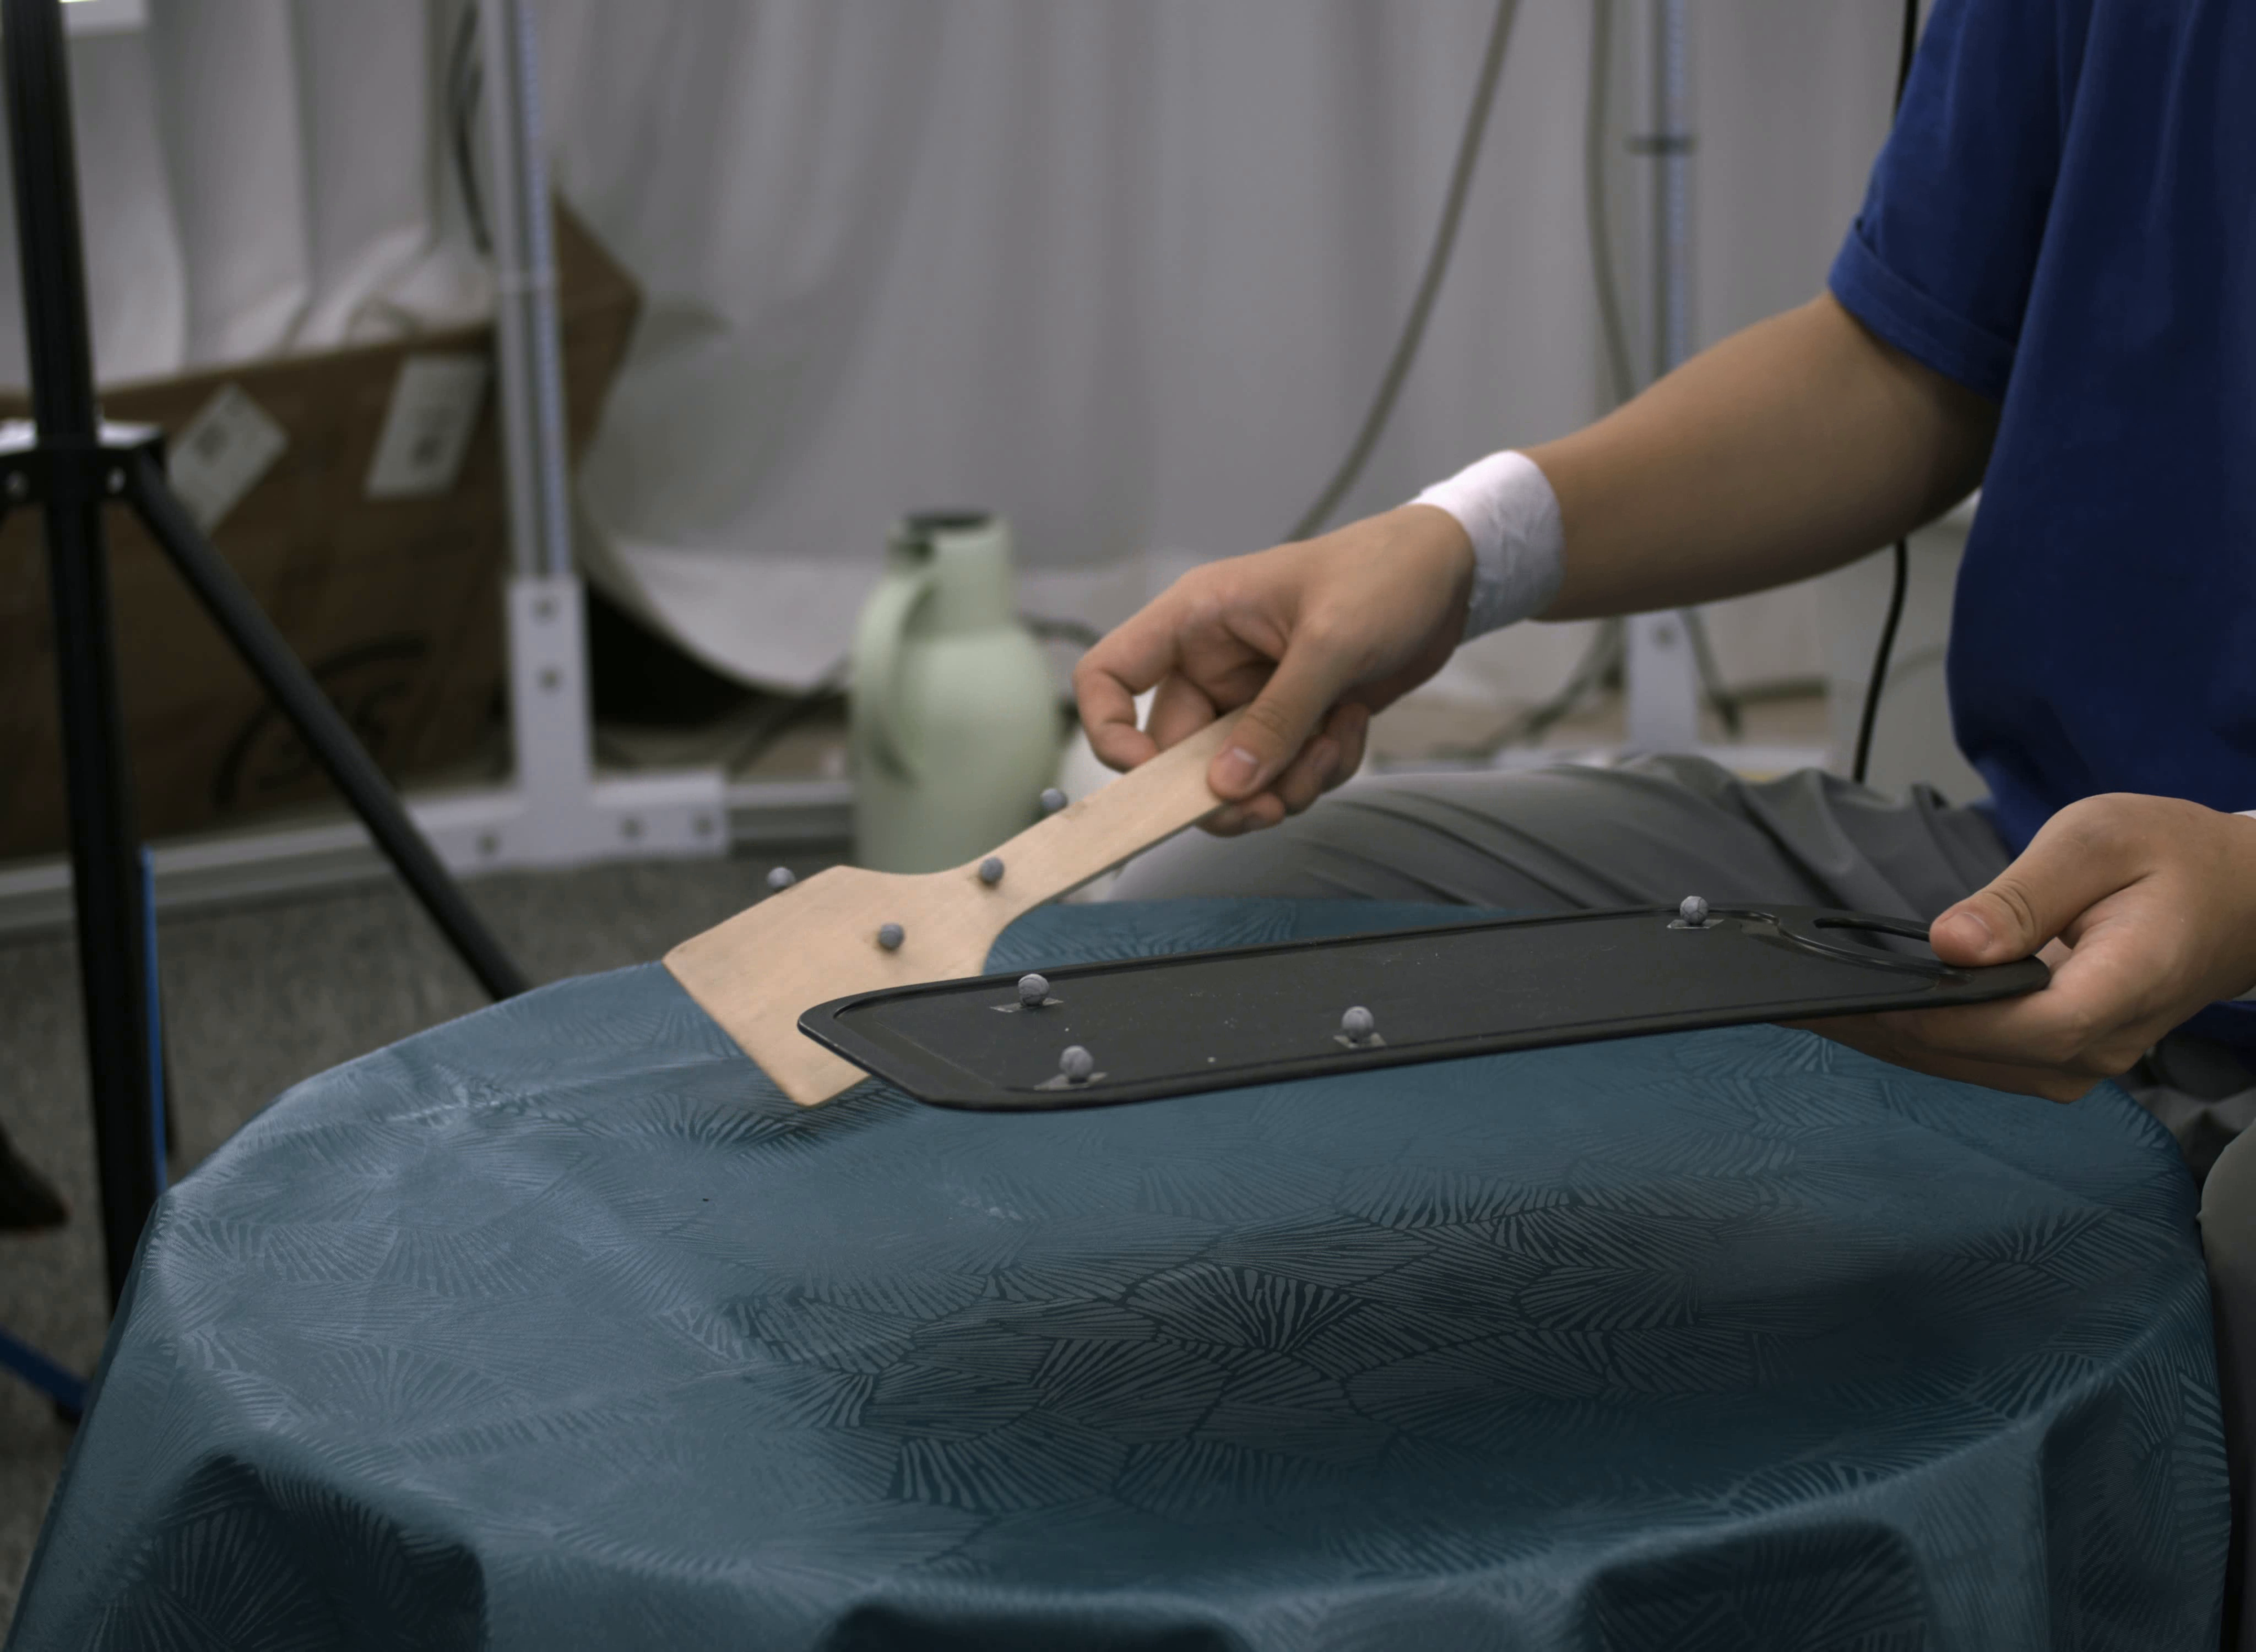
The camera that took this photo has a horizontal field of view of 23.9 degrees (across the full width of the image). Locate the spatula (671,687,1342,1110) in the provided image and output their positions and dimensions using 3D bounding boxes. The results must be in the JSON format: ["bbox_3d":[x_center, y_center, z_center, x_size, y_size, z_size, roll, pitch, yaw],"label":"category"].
[{"bbox_3d":[-0.028,0.012,1.725,0.073,0.011,0.287,44,46,19],"label":"spatula"}]

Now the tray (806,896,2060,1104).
[{"bbox_3d":[0.084,0.042,1.418,0.320,0.010,0.214,-6,7,-14],"label":"tray"}]
